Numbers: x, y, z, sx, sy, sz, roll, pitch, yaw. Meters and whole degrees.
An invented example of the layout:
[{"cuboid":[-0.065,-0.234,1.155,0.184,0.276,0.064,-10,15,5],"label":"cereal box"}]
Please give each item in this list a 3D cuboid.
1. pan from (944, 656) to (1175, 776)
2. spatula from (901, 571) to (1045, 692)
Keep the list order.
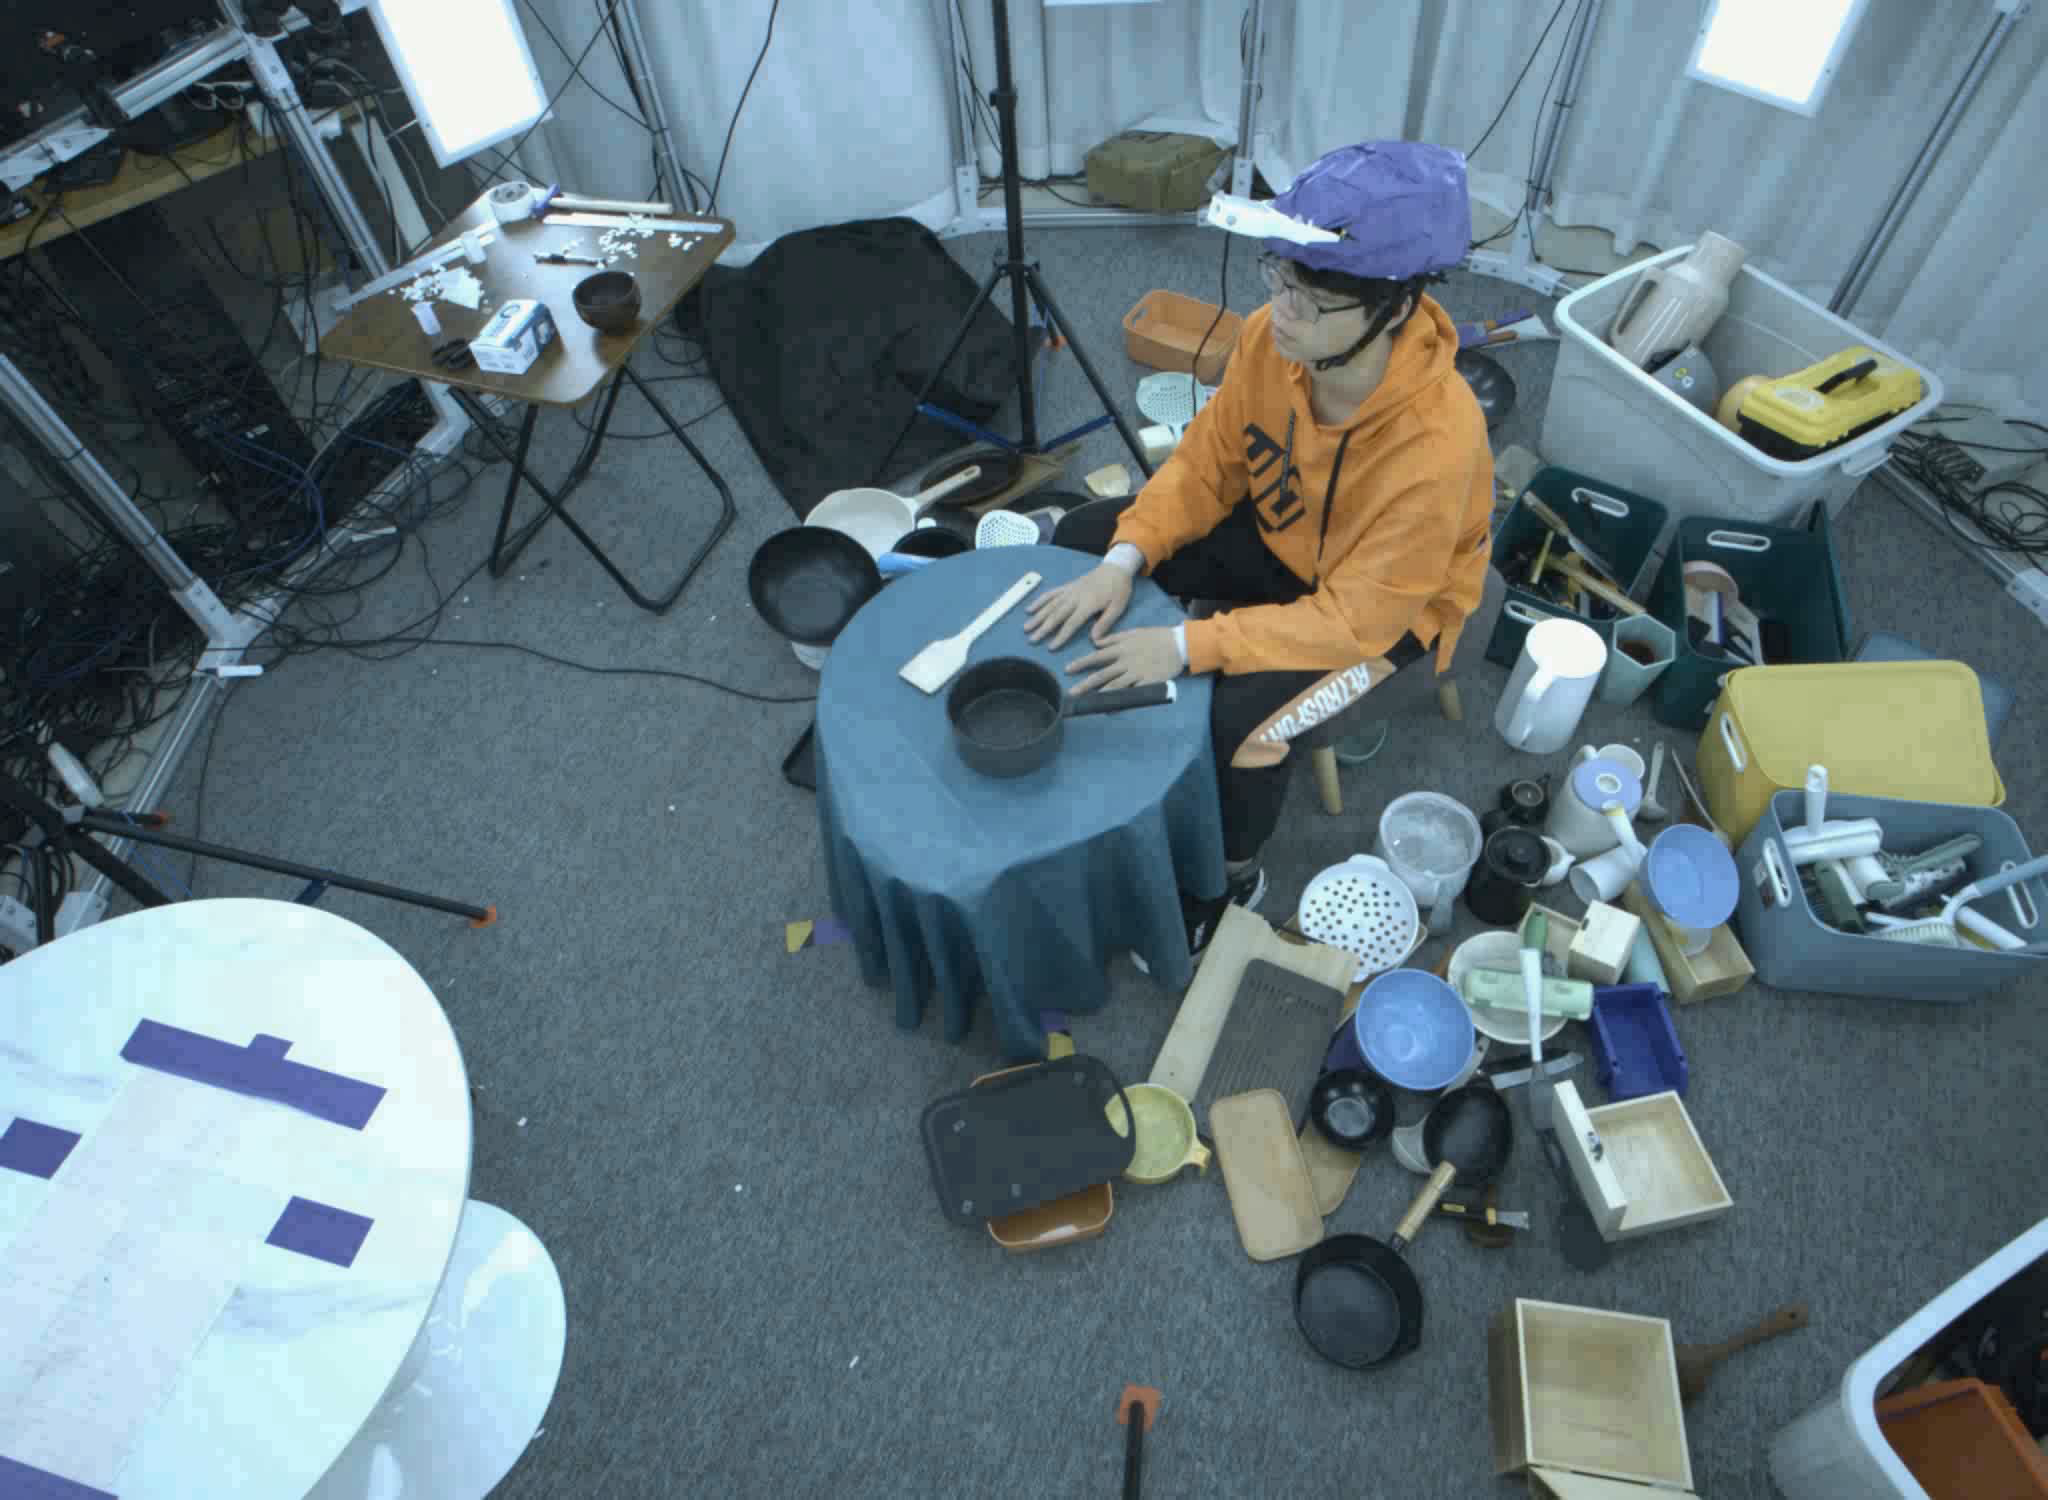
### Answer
[{"cuboid":[0.053,-0.051,1.770,0.328,0.087,0.170,-2,55,3],"label":"pan"},{"cuboid":[-0.071,-0.194,1.921,0.071,0.011,0.295,33,62,26],"label":"spatula"}]
